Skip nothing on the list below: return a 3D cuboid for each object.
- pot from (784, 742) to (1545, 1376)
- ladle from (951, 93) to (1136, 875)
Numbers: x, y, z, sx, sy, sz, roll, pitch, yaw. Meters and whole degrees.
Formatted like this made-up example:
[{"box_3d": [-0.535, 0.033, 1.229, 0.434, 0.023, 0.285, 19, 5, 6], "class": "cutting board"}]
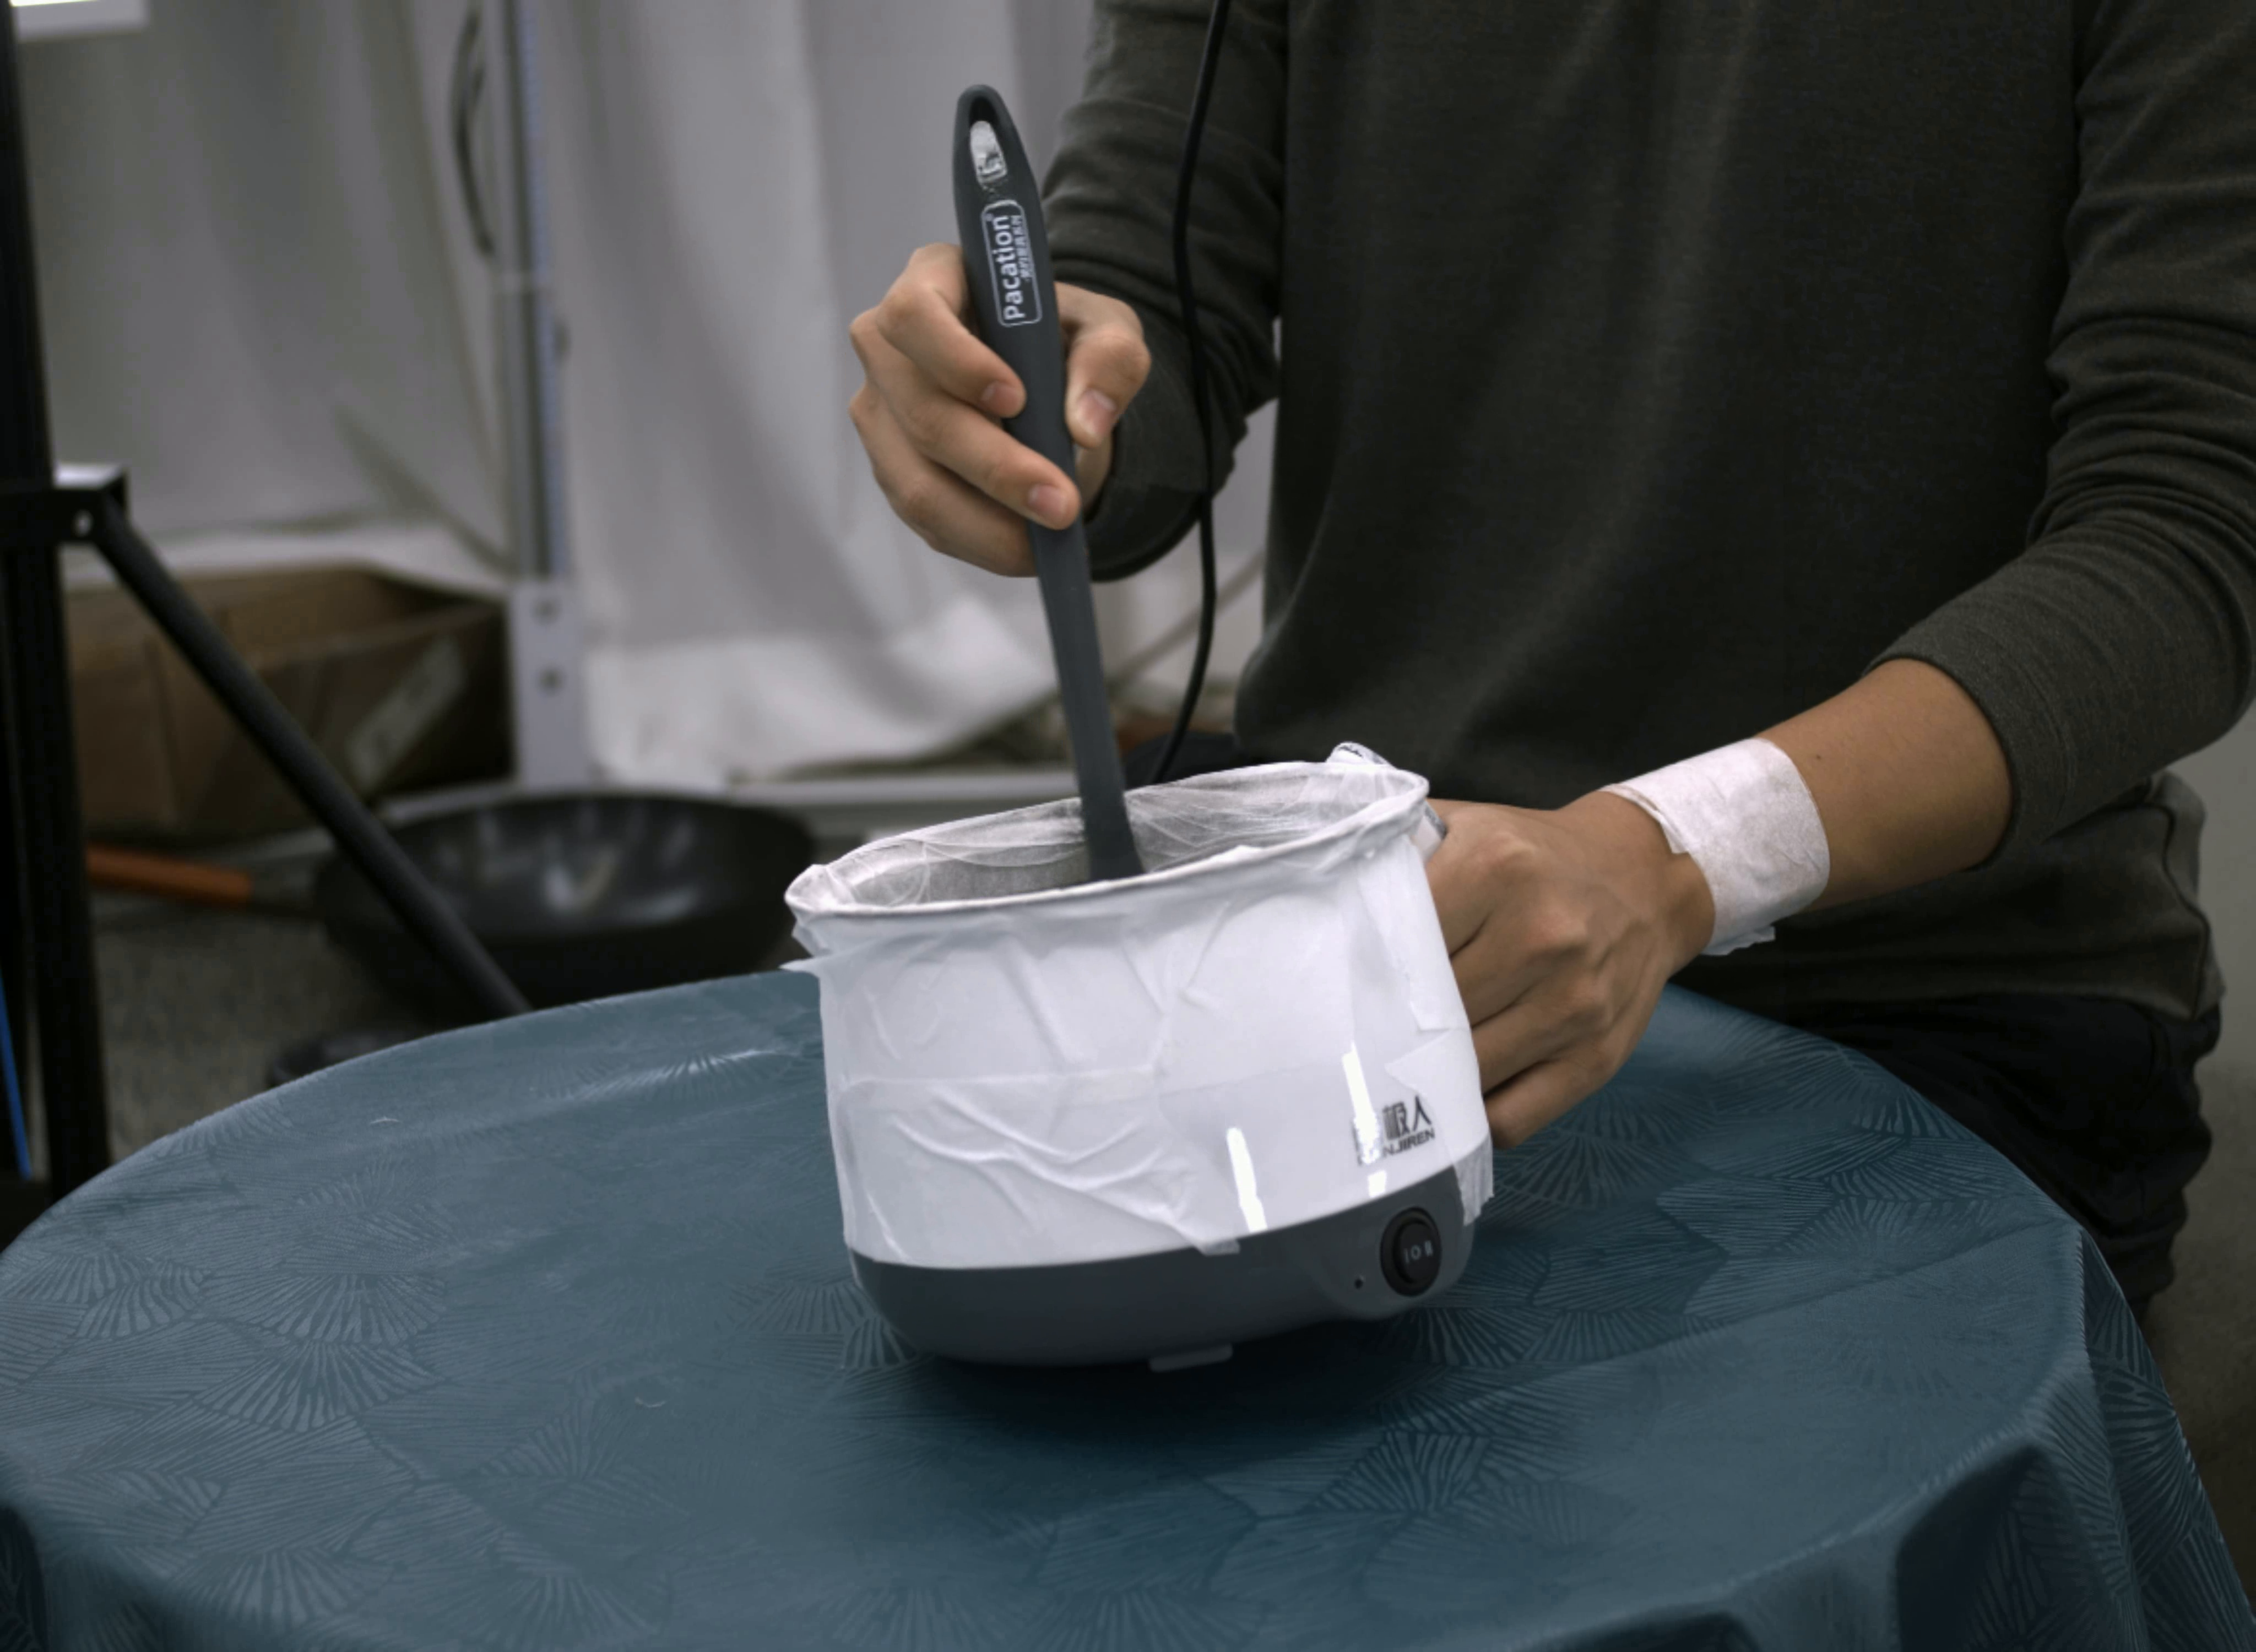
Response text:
[{"box_3d": [0.024, 0.059, 1.451, 0.182, 0.137, 0.228, -2, 11, 45], "class": "pot"}, {"box_3d": [-0.016, -0.064, 1.479, 0.085, 0.317, 0.064, -8, -14, -7], "class": "ladle"}]
